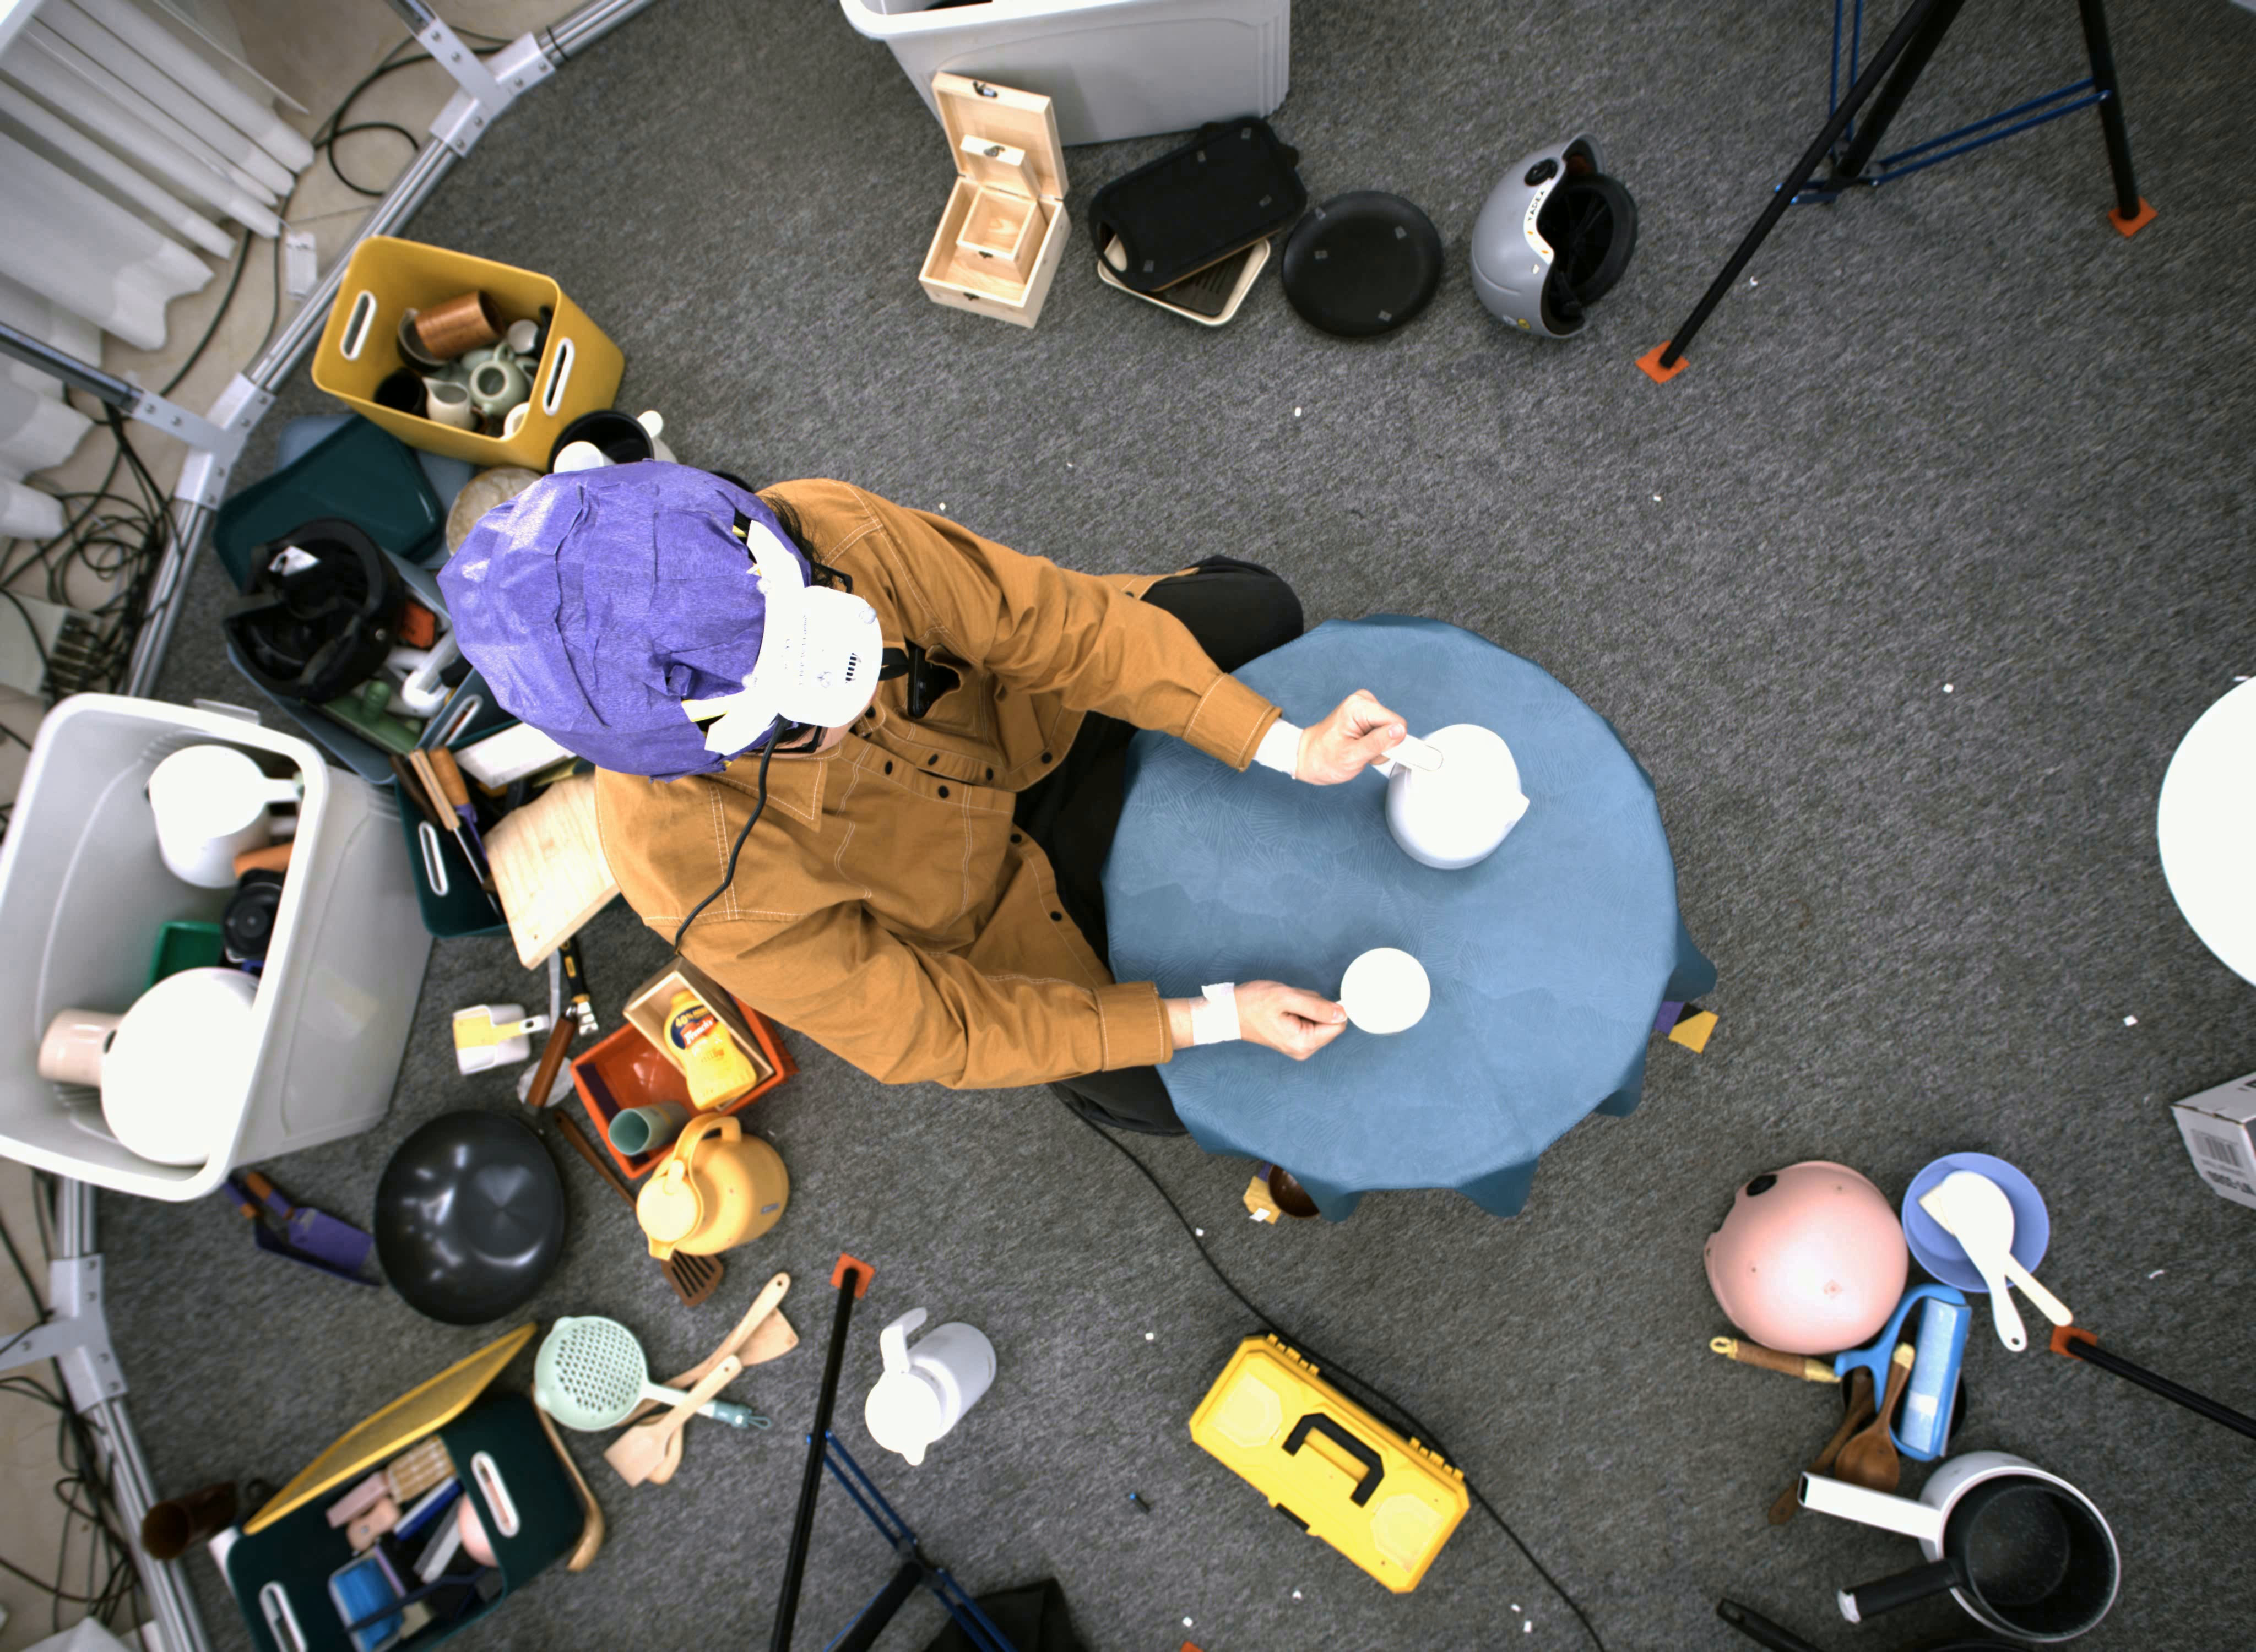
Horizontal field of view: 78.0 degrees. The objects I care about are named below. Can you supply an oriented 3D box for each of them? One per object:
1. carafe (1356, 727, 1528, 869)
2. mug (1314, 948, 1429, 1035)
[{"bbox_3d":[0.300,-0.041,1.335,0.167,0.248,0.133,28,91,12],"label":"carafe"},{"bbox_3d":[0.247,0.173,1.409,0.119,0.102,0.084,-24,81,9],"label":"mug"}]
